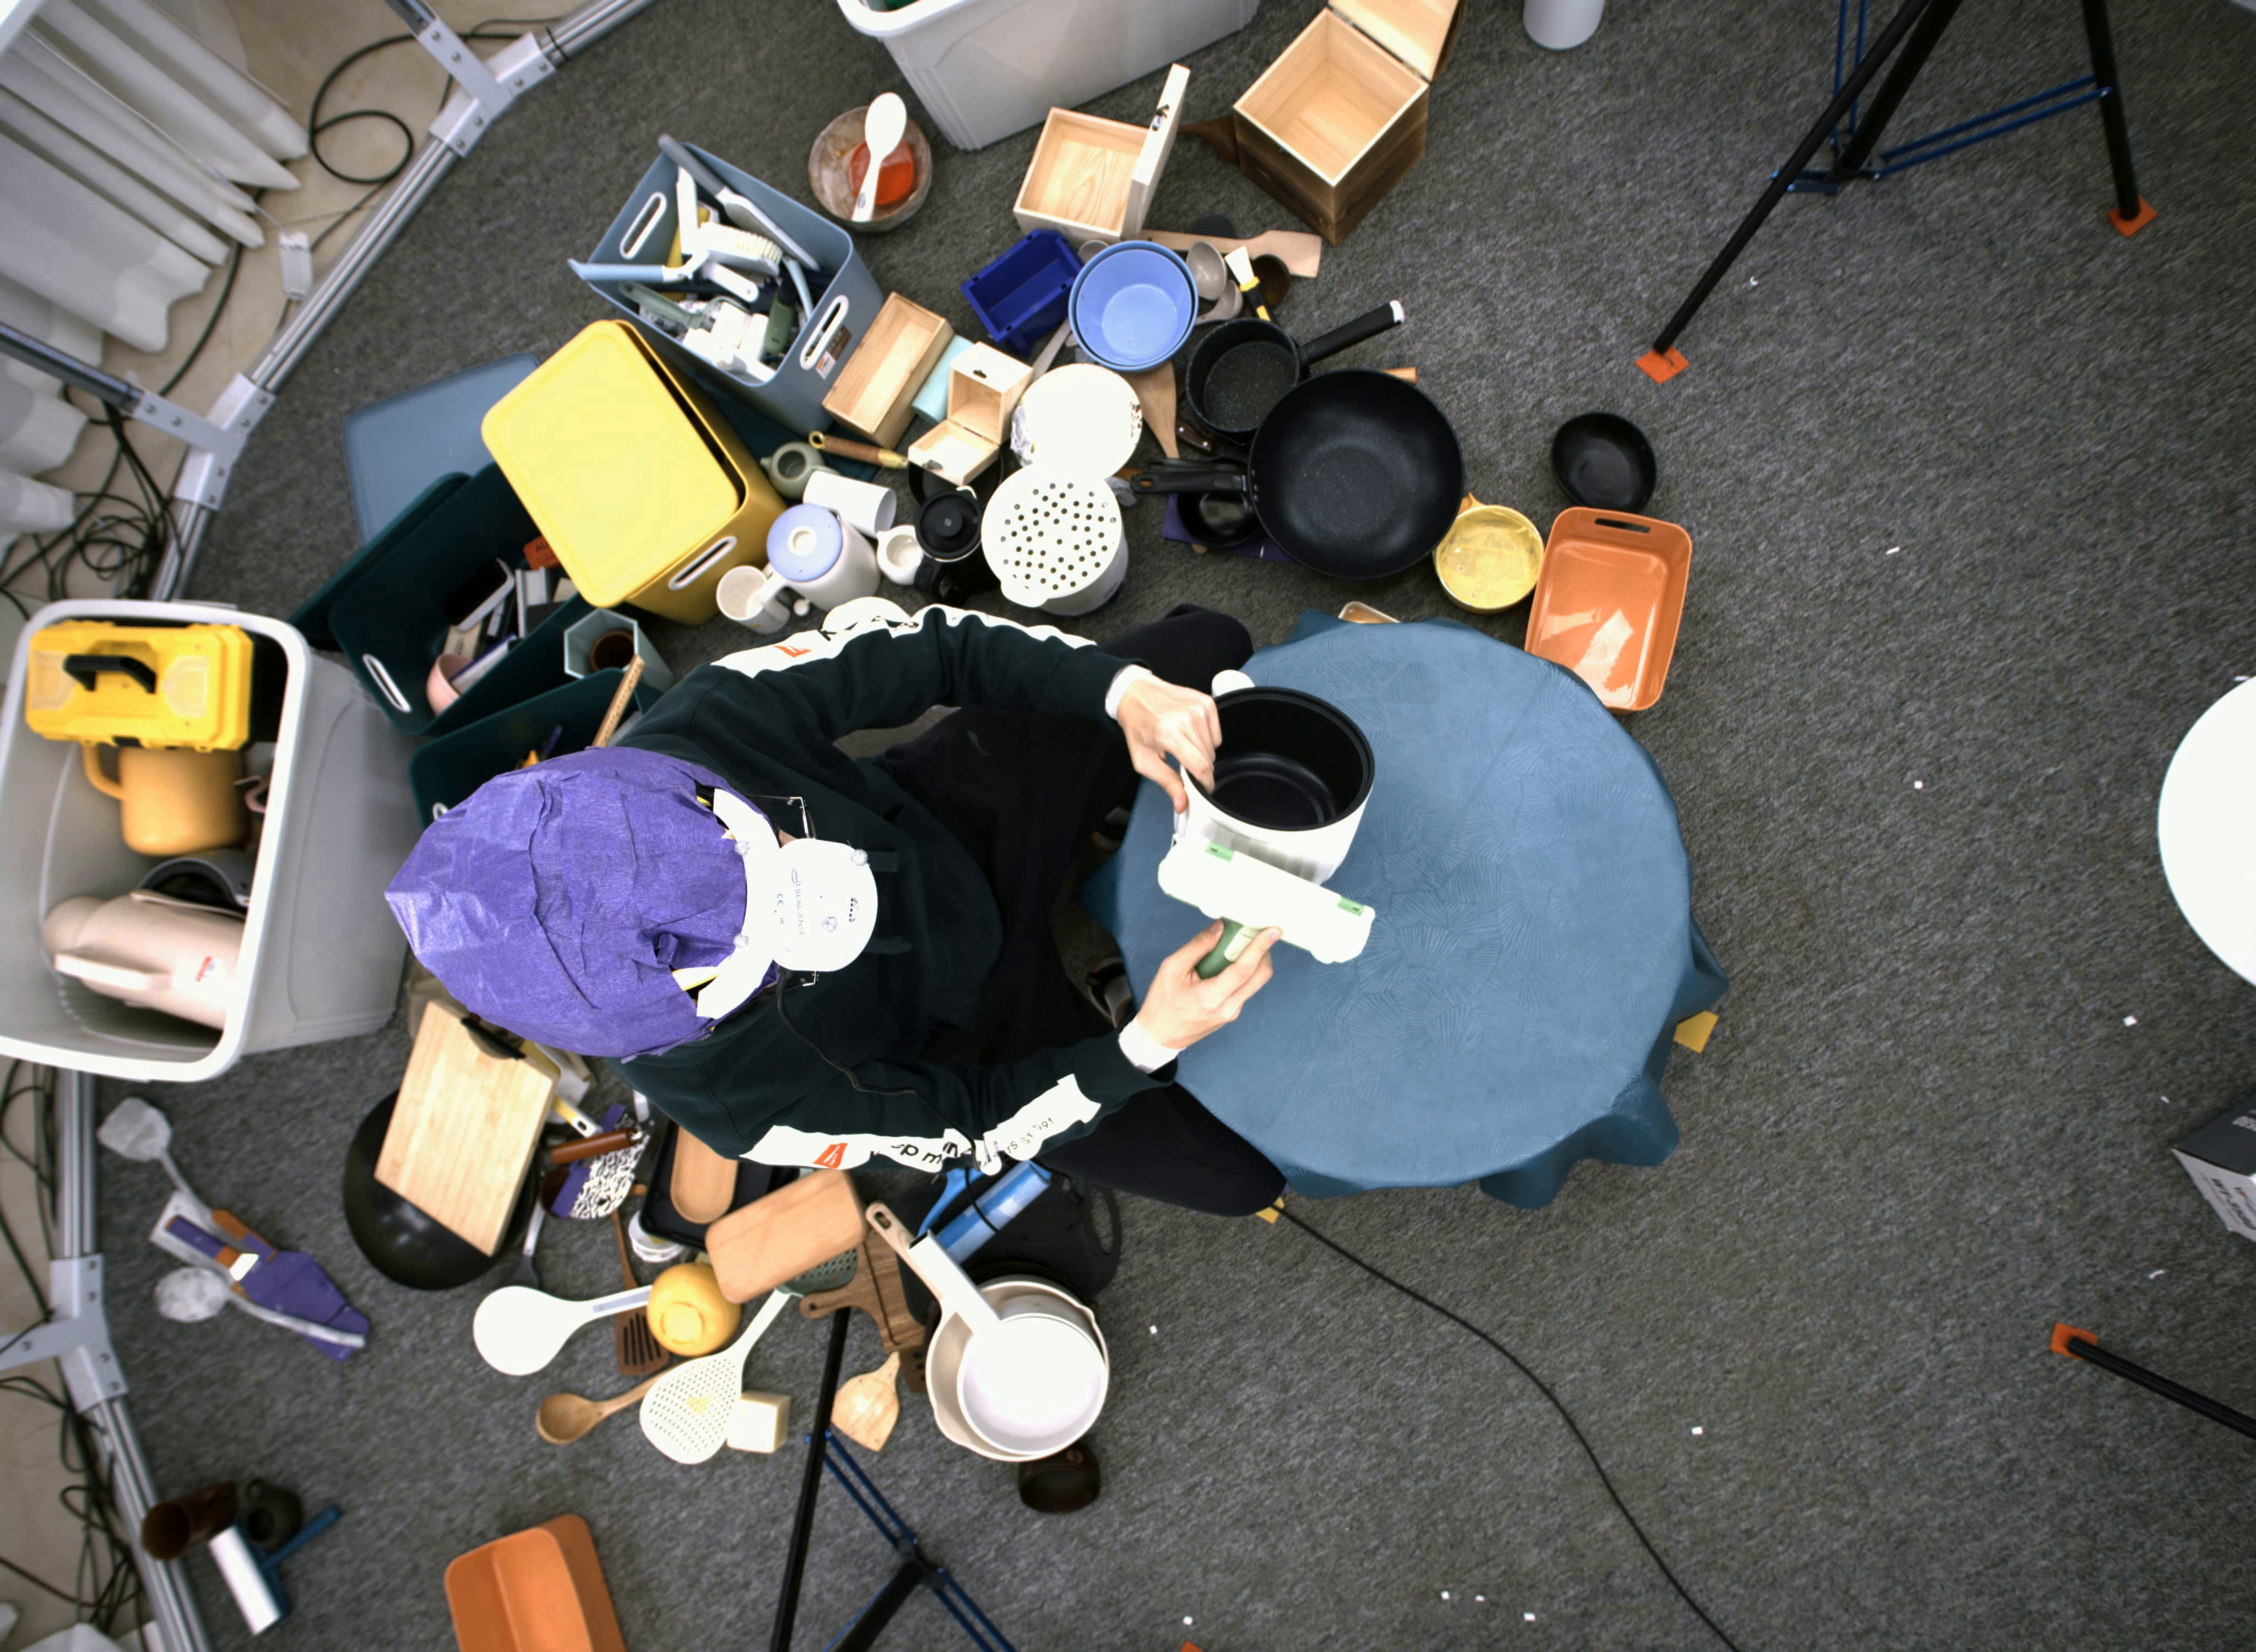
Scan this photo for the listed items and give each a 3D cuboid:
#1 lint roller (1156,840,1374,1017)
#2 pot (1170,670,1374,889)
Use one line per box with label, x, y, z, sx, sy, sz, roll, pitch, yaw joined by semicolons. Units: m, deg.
lint roller;0.097;0.117;1.248;0.199;0.080;0.187;21;114;-19
pot;0.136;-0.028;1.323;0.189;0.146;0.236;-18;57;-15
